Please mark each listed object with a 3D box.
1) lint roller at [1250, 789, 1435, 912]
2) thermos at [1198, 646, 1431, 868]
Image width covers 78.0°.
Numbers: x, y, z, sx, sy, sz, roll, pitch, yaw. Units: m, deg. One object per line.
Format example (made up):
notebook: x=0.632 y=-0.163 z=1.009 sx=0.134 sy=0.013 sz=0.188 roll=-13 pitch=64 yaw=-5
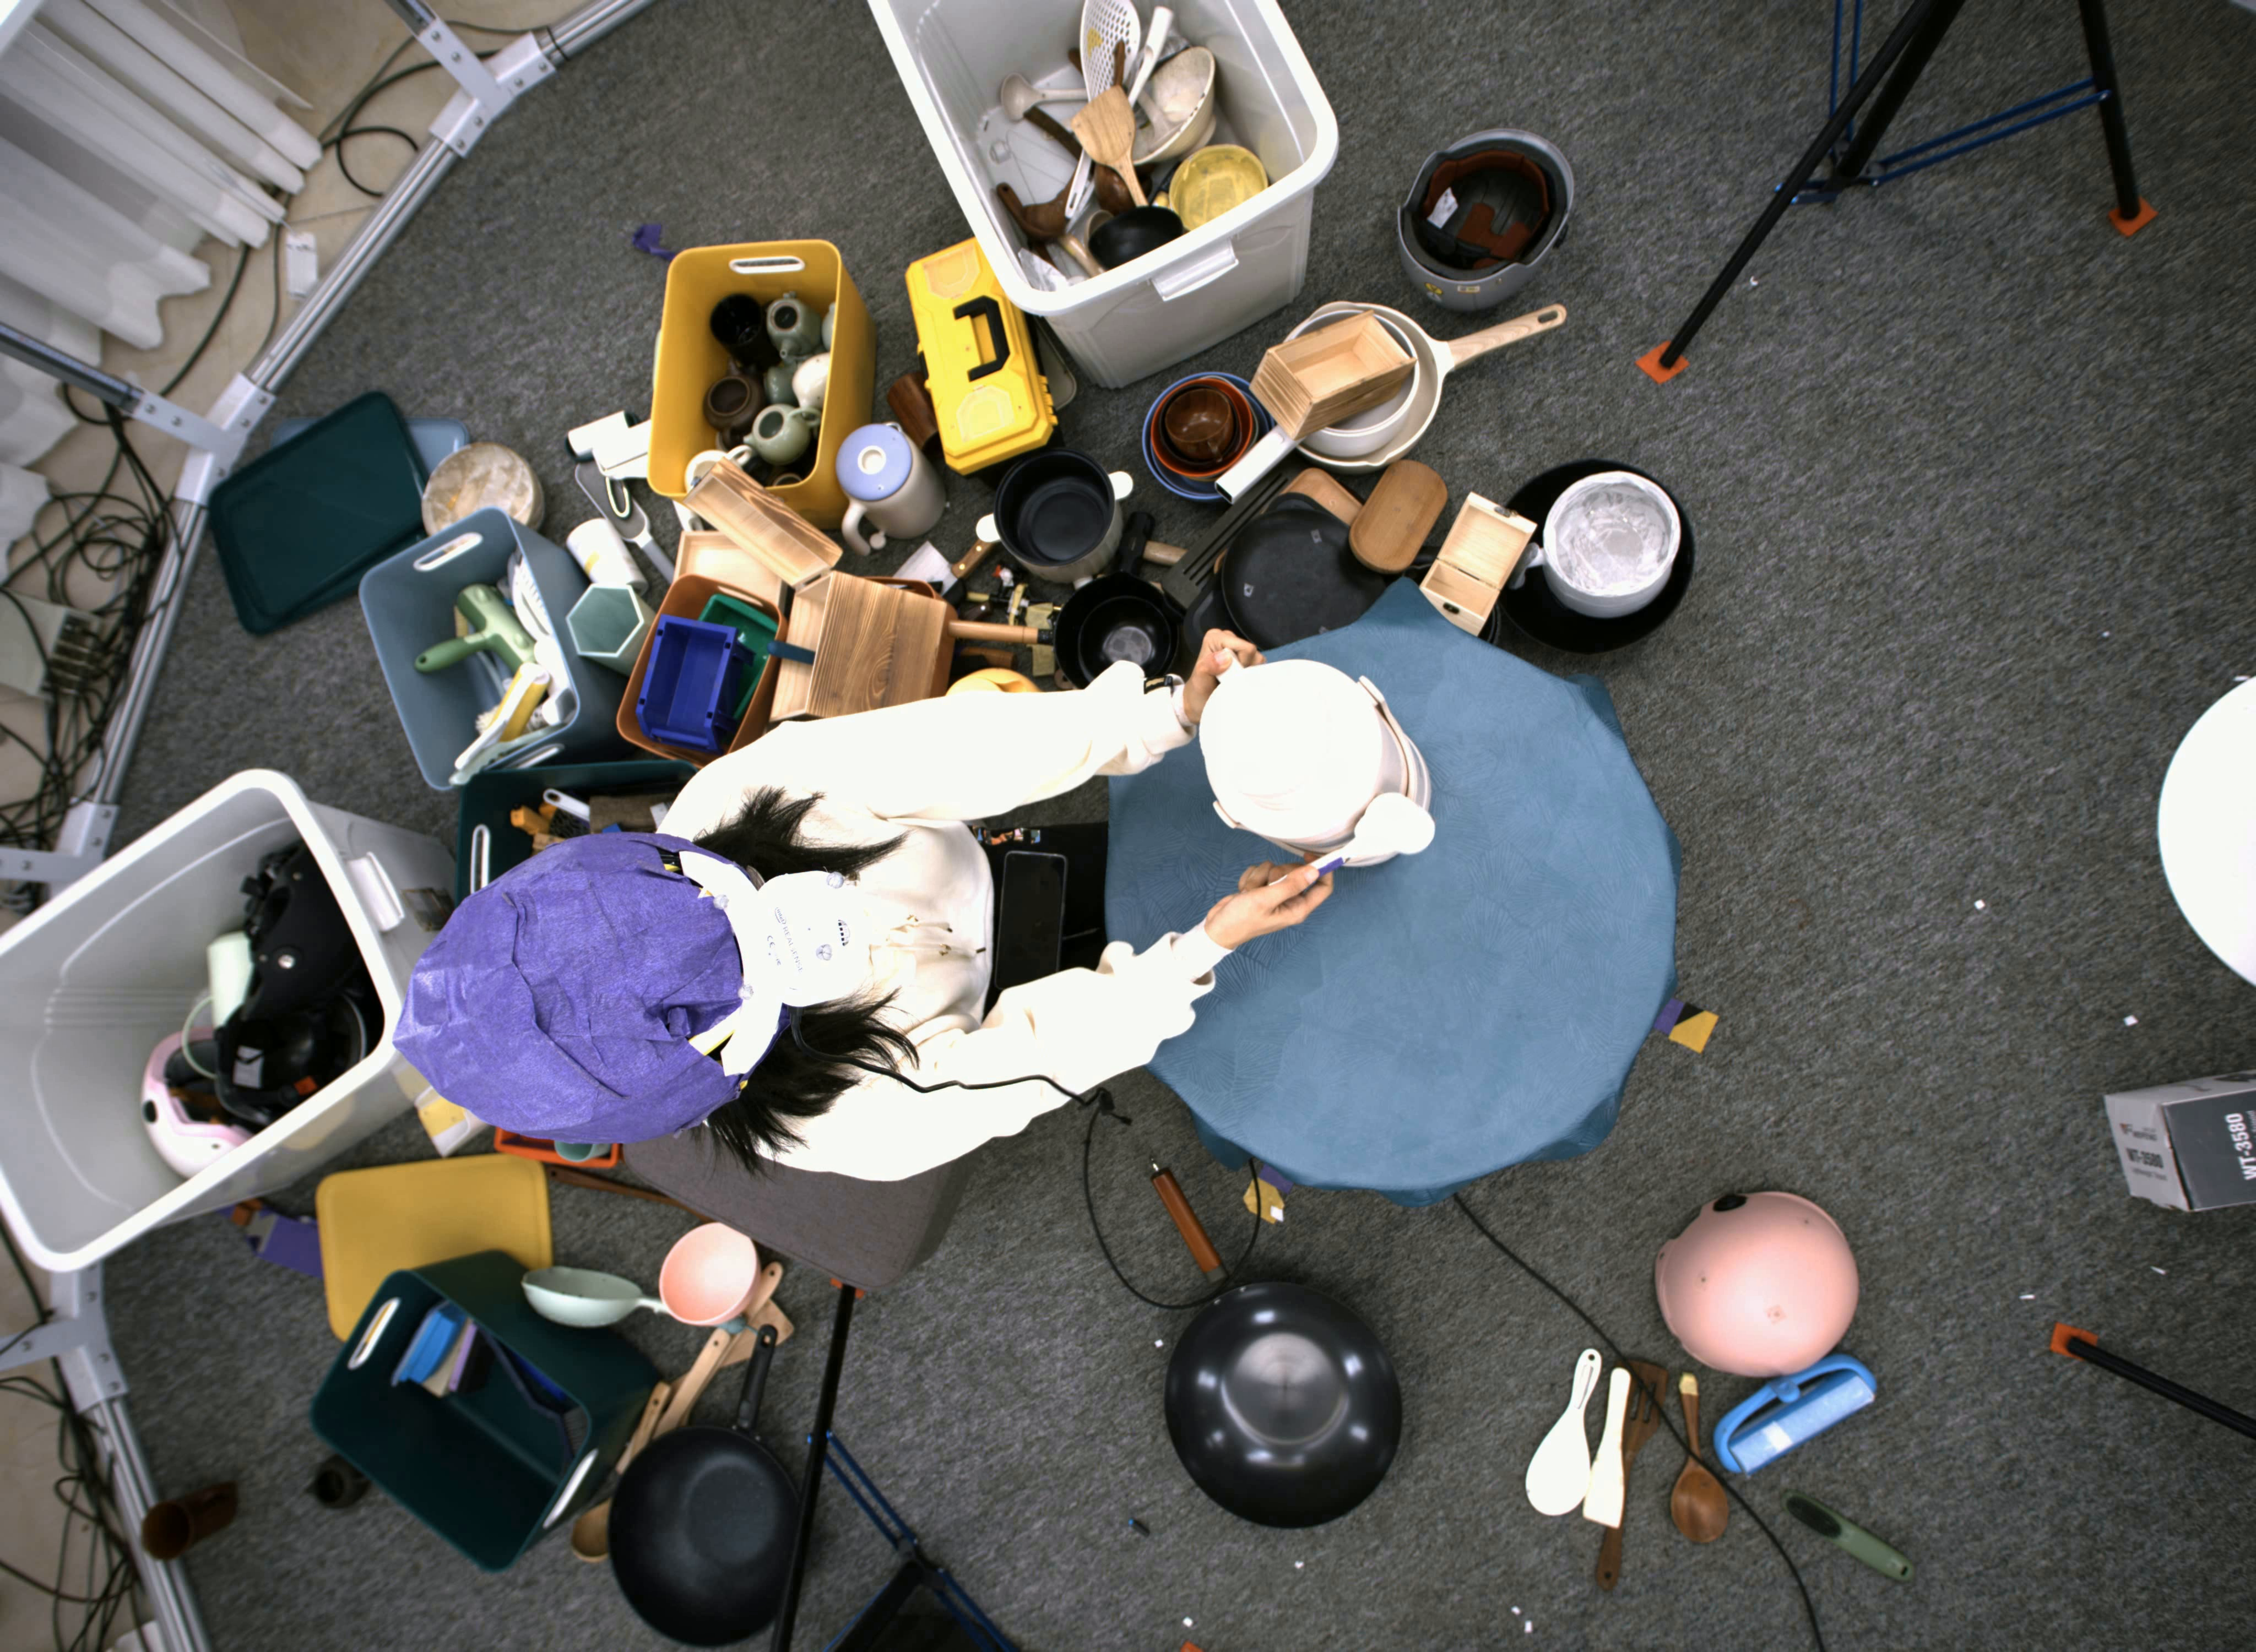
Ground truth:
lint roller: x=0.191 y=0.034 z=1.237 sx=0.183 sy=0.133 sz=0.050 roll=-39 pitch=74 yaw=13
thermos: x=0.166 y=-0.068 z=1.277 sx=0.177 sy=0.406 sz=0.205 roll=-41 pitch=72 yaw=13
